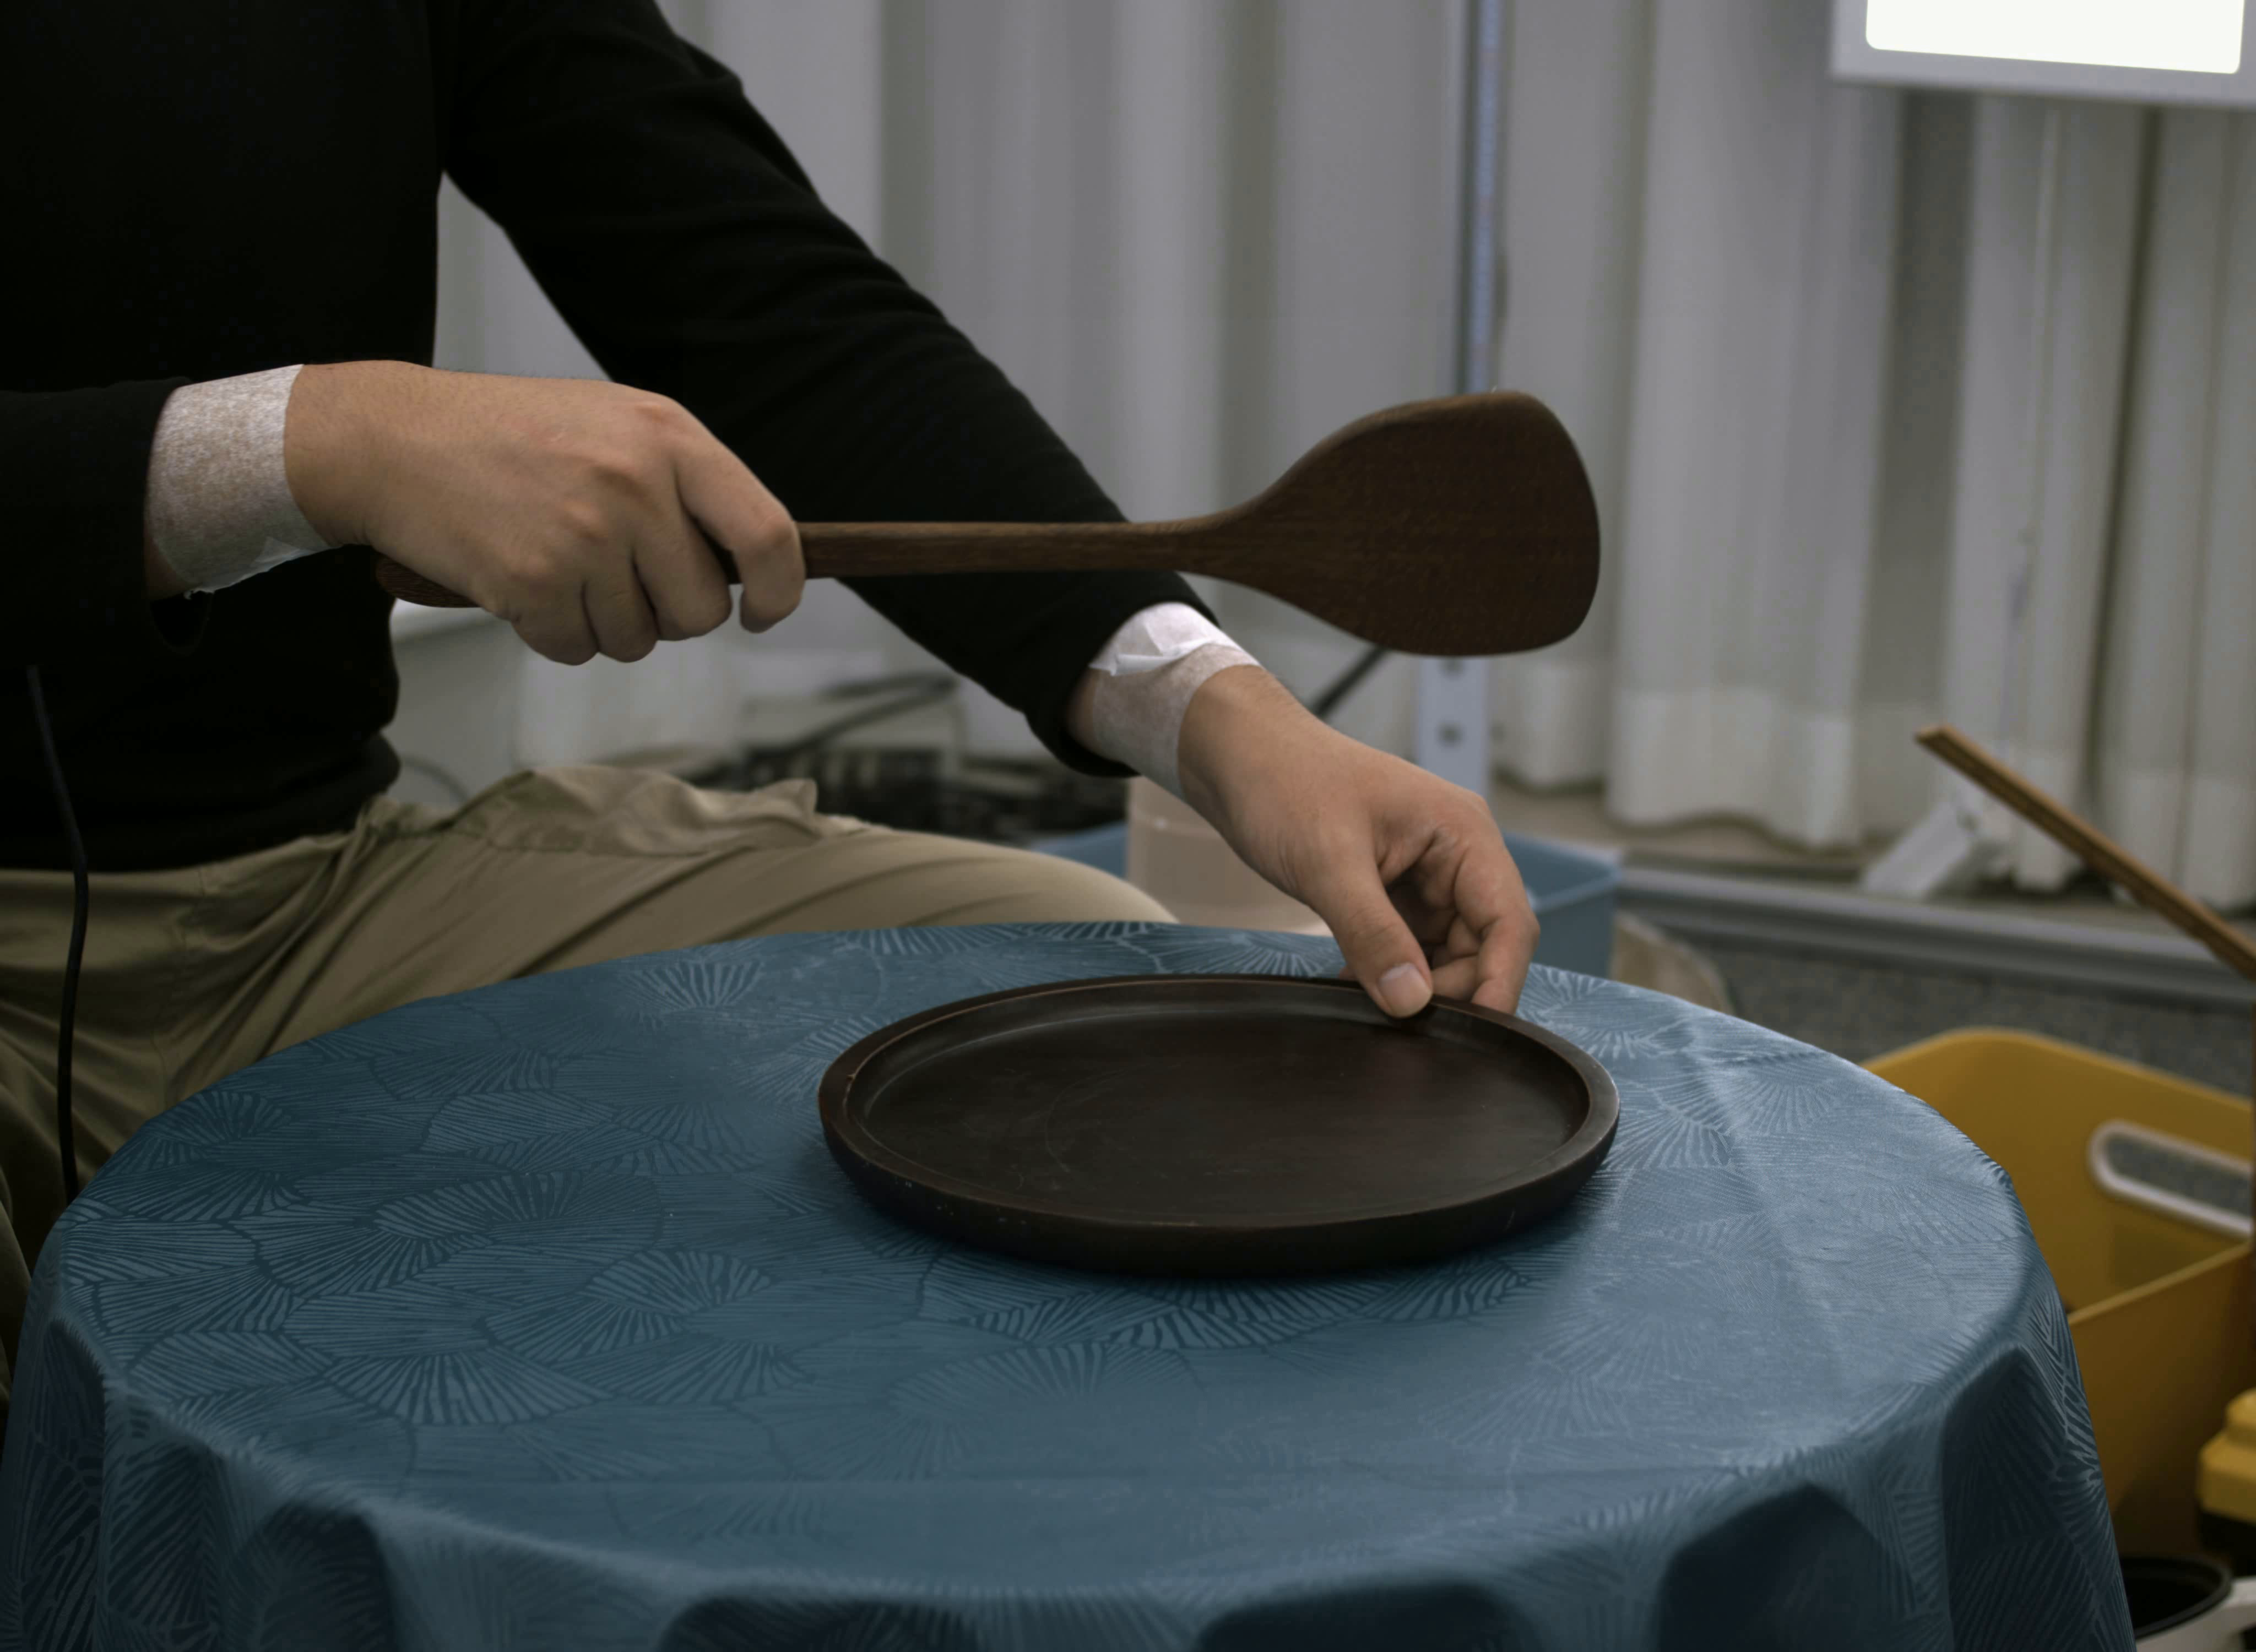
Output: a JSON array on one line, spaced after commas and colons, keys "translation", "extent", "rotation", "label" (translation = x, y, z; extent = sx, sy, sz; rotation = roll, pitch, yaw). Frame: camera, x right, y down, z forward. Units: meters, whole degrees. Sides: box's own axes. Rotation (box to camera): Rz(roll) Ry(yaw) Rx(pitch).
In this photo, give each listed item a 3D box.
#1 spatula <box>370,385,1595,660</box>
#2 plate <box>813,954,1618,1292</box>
[{"translation": [-0.049, -0.086, 1.600], "extent": [0.383, 0.097, 0.015], "rotation": [-1, 39, 13], "label": "spatula"}, {"translation": [0.027, 0.093, 1.651], "extent": [0.254, 0.029, 0.253], "rotation": [0, 17, 0], "label": "plate"}]
